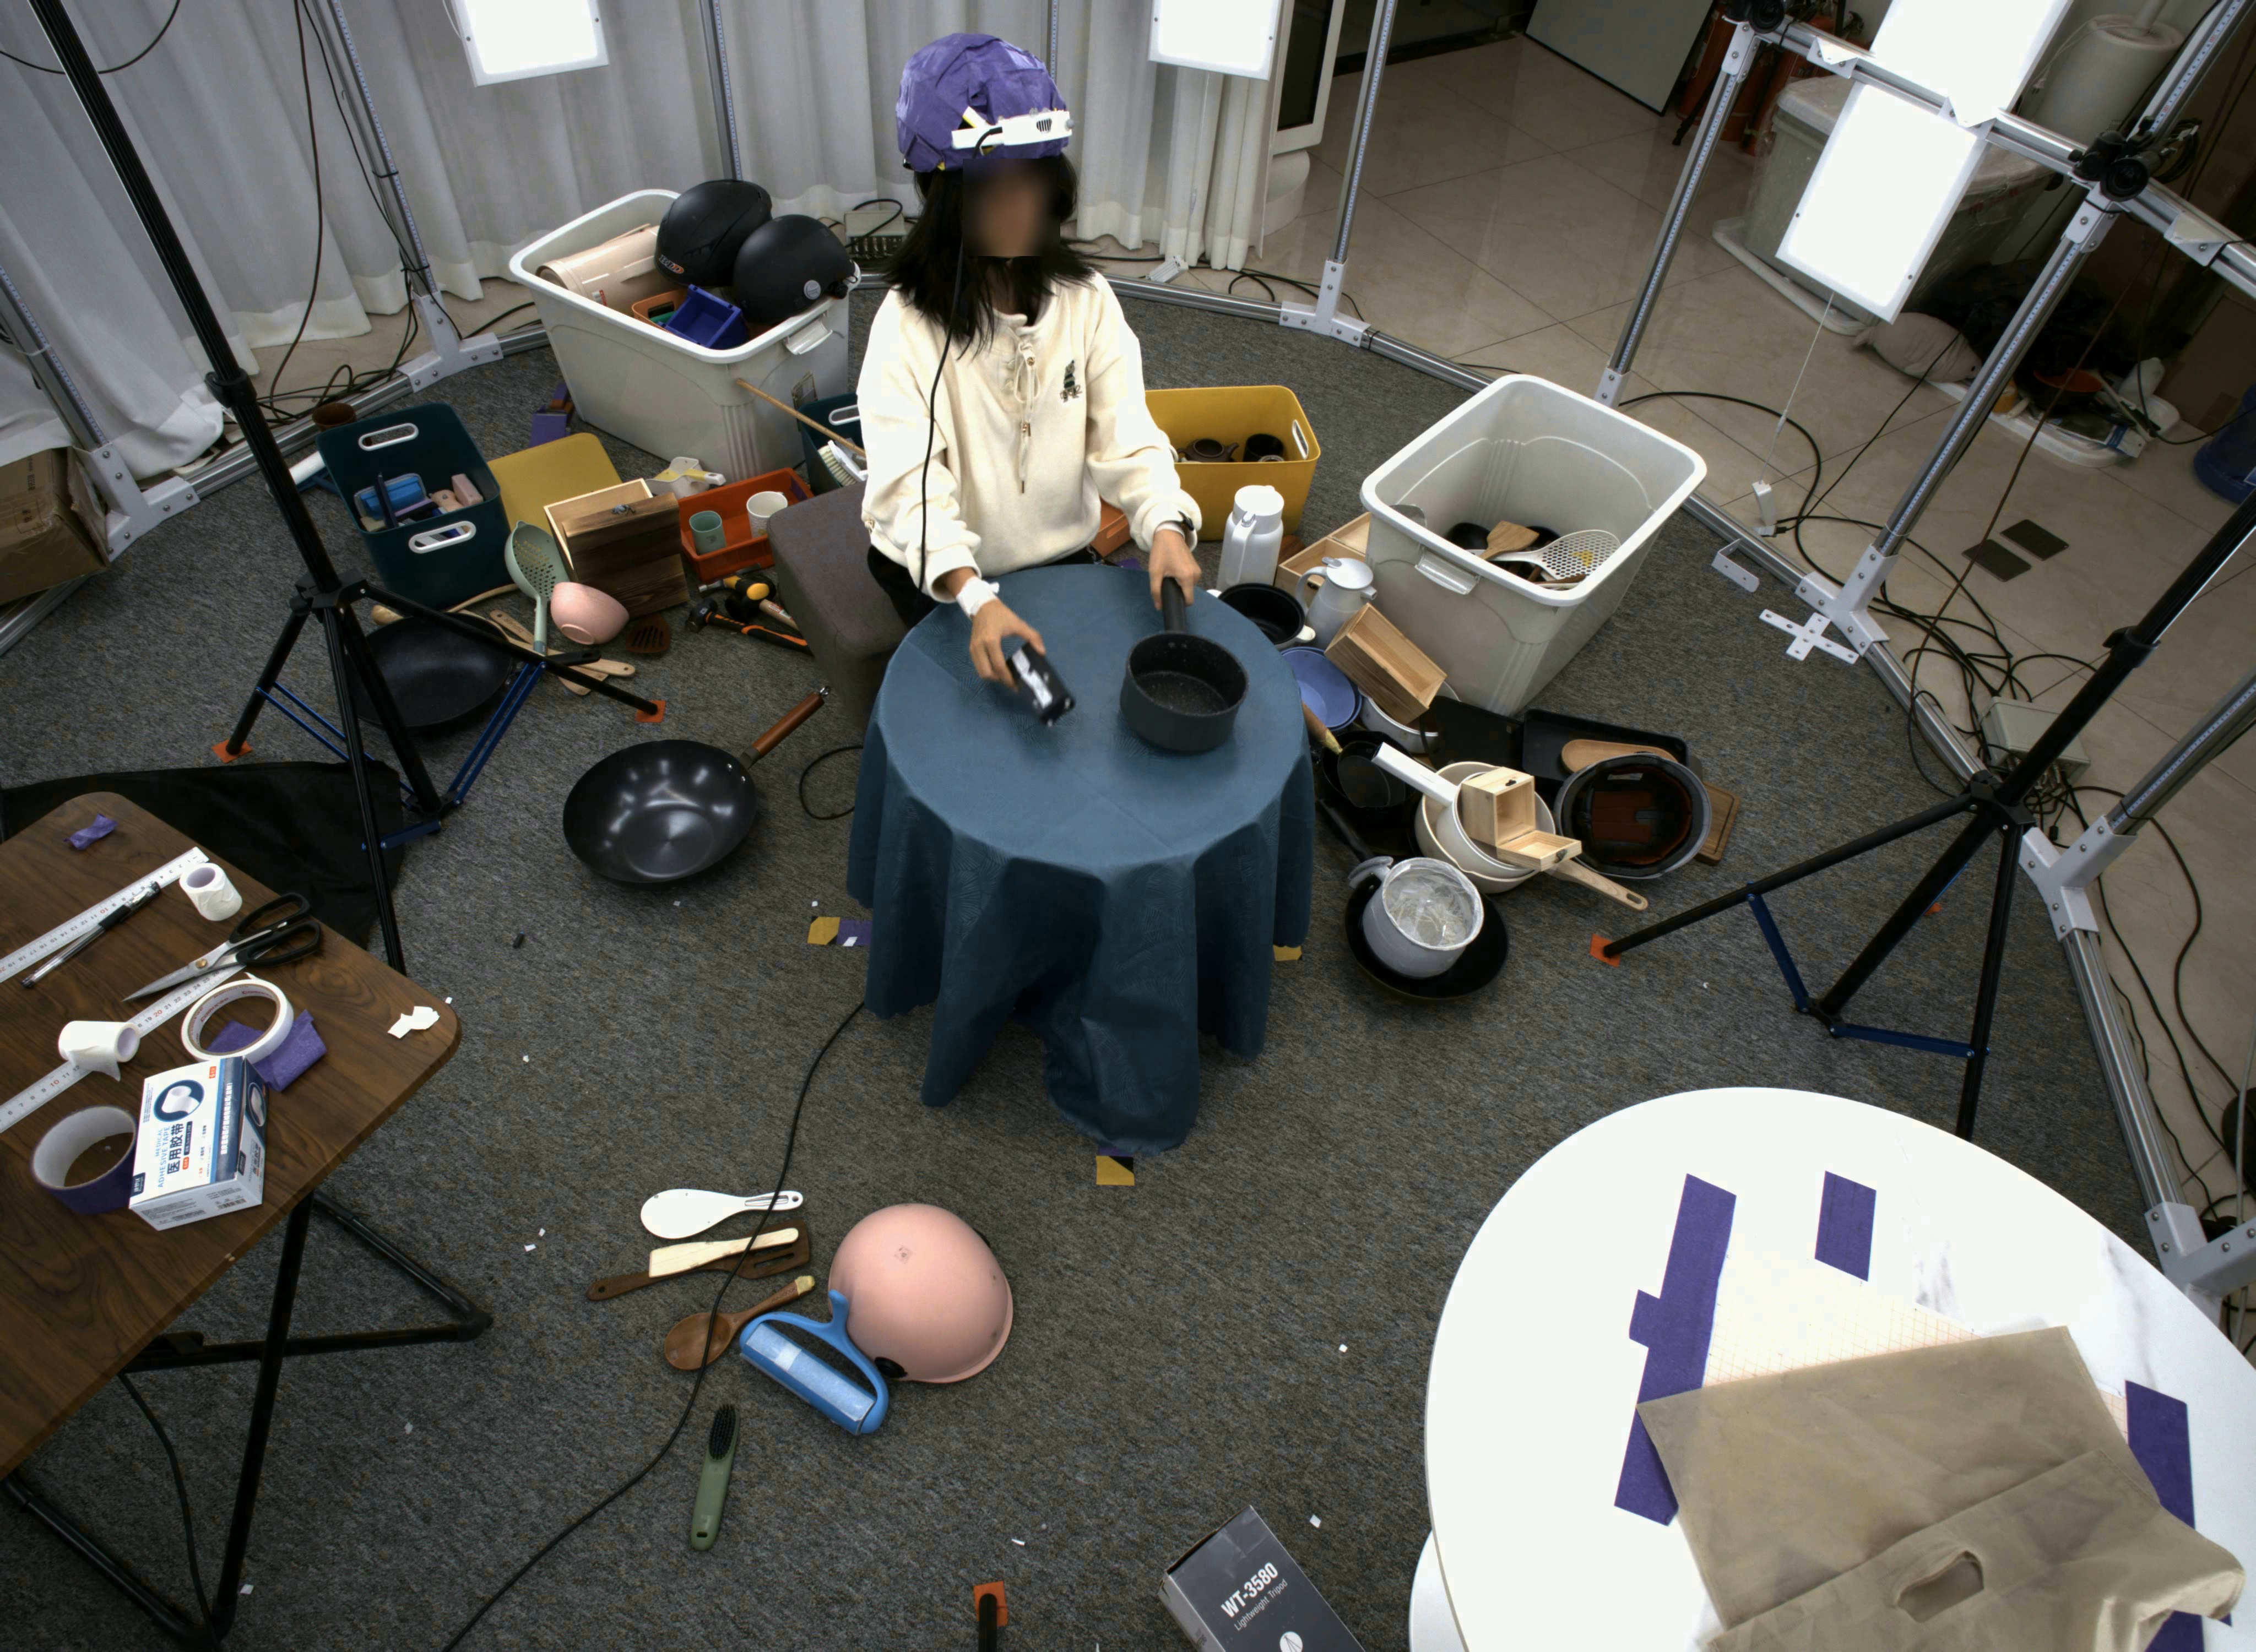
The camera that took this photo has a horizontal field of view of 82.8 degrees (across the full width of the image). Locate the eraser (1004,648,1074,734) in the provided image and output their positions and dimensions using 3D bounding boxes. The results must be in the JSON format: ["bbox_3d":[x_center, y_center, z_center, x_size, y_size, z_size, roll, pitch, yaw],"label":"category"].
[{"bbox_3d":[-0.122,-0.187,1.765,0.053,0.030,0.128,-36,54,8],"label":"eraser"}]

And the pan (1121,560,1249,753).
[{"bbox_3d":[0.073,-0.245,1.828,0.171,0.084,0.337,5,48,-8],"label":"pan"}]
